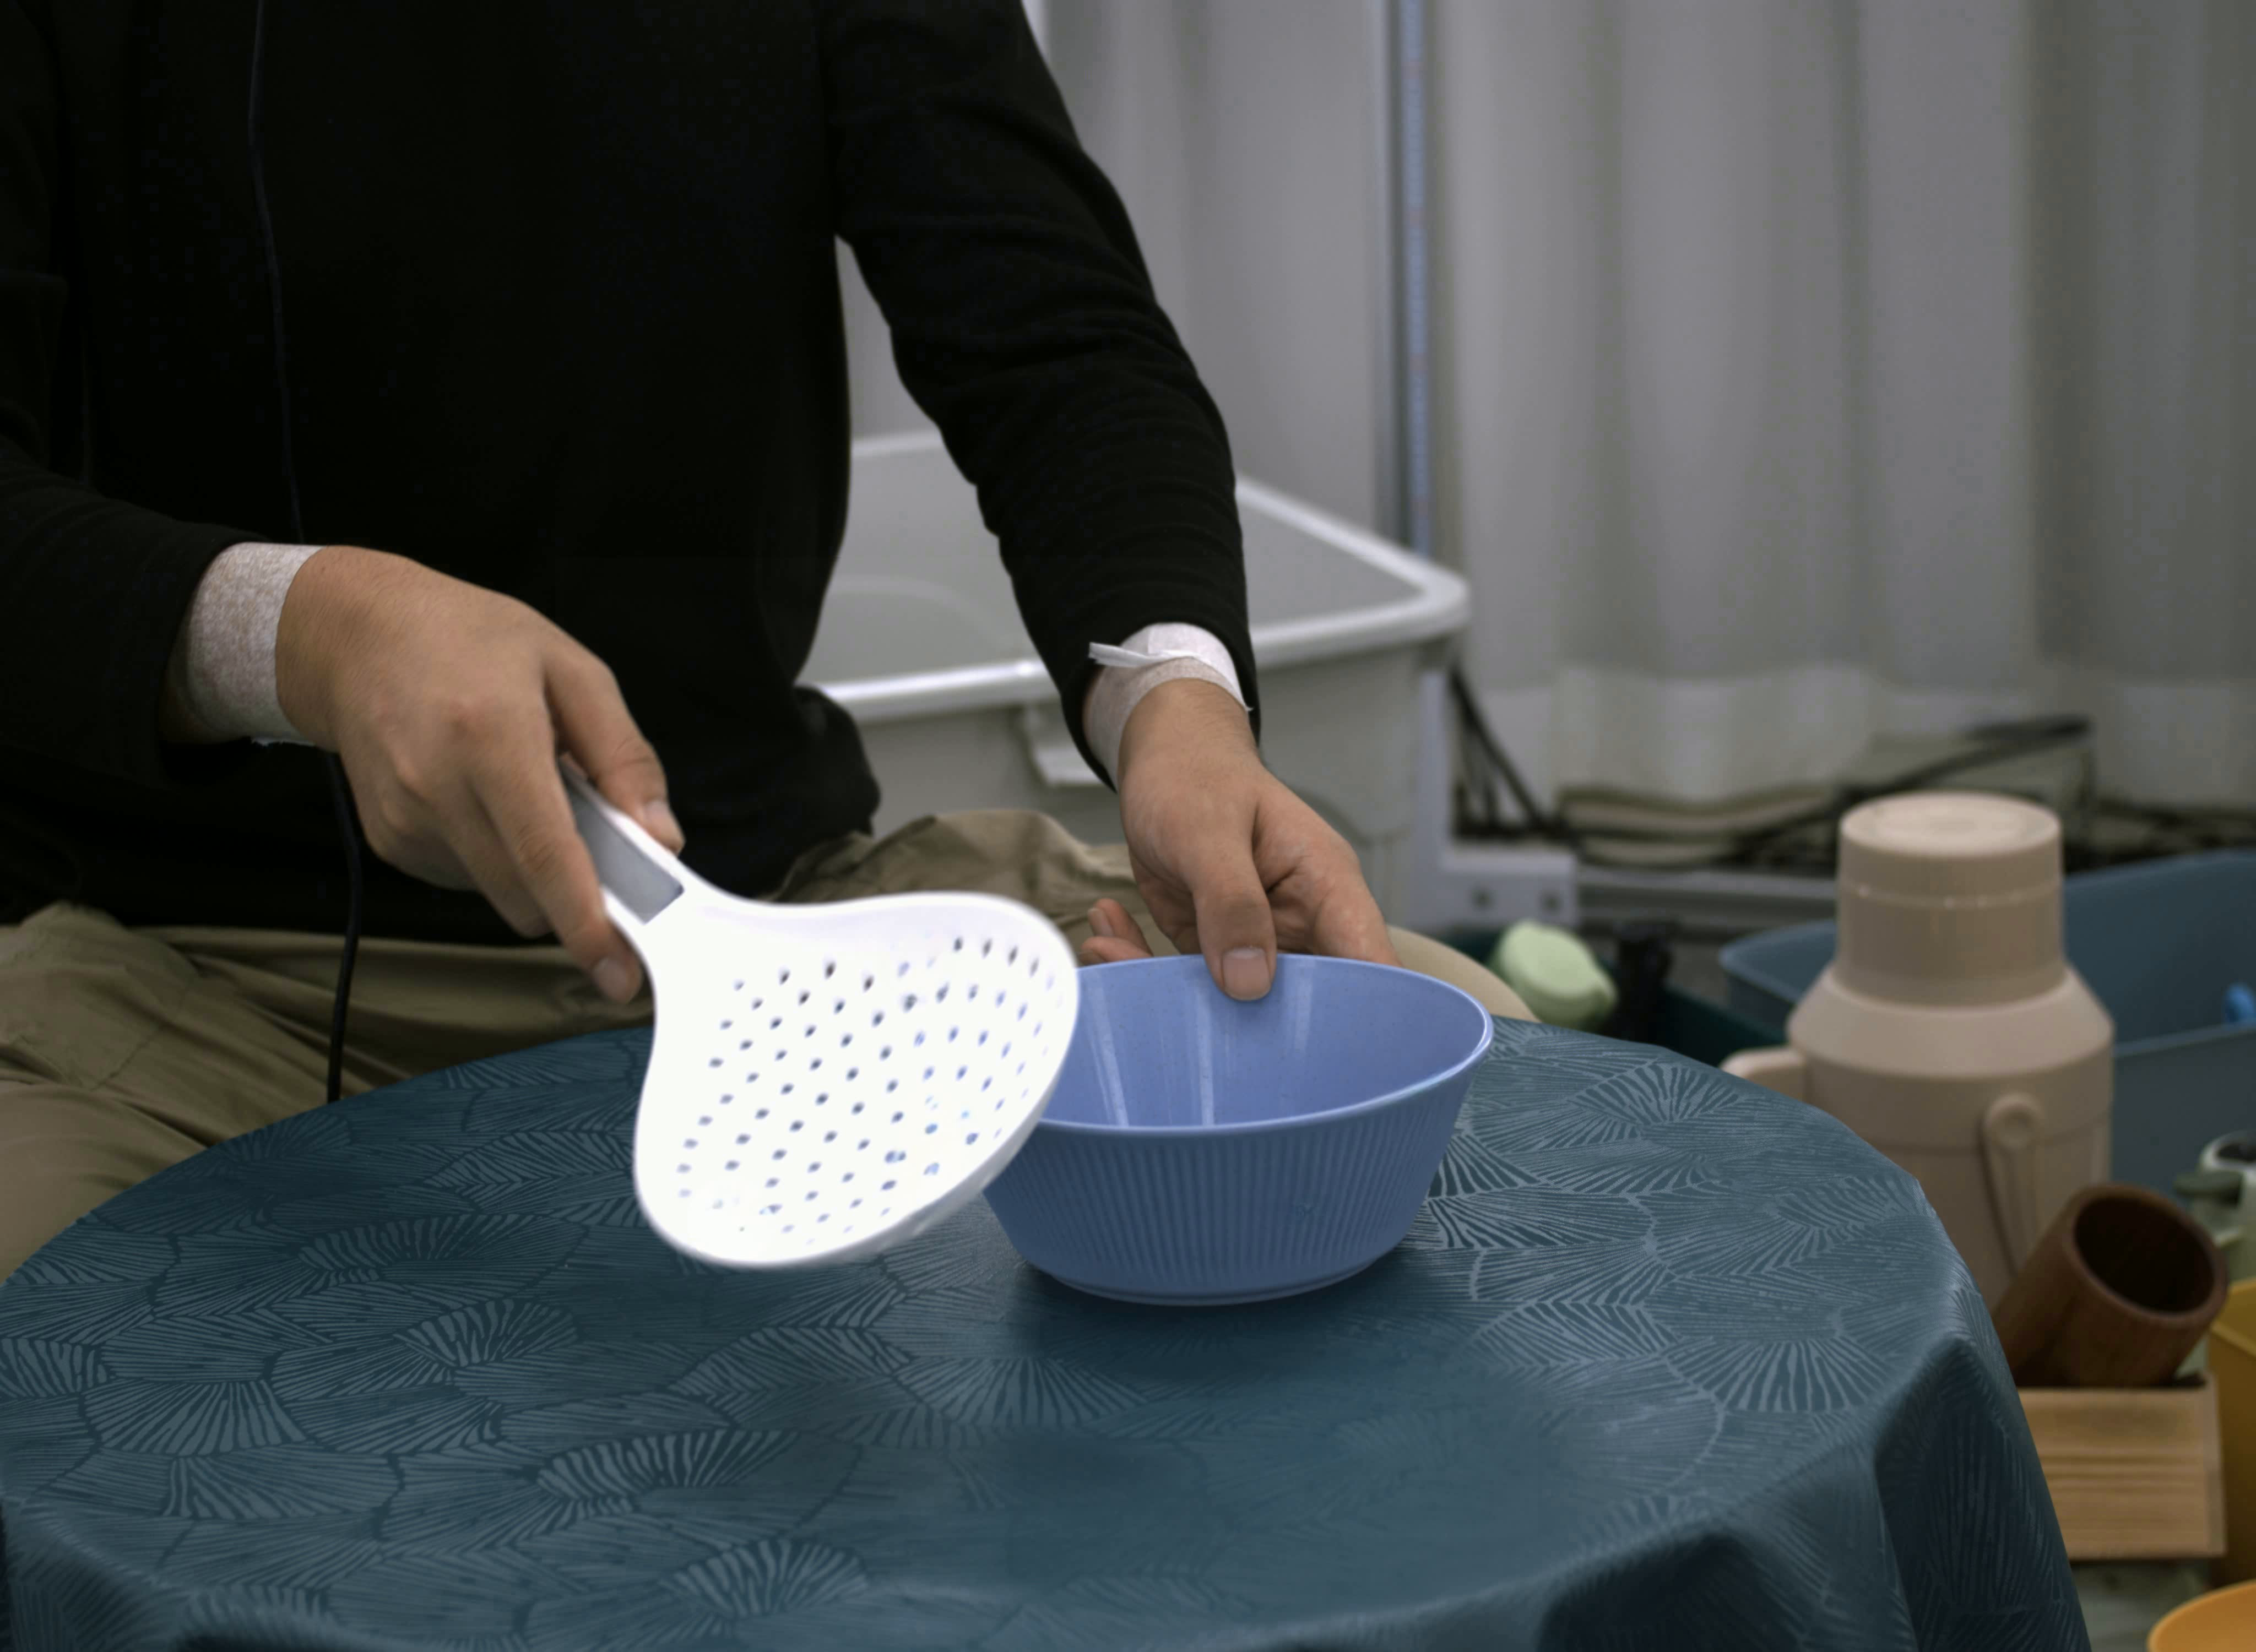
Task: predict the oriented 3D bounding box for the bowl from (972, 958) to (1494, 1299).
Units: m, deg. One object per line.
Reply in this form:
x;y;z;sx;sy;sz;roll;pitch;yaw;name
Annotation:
0.024;0.093;1.651;0.175;0.070;0.177;-2;14;0;bowl

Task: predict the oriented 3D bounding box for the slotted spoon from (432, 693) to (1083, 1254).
-0.124;0.031;1.593;0.136;0.045;0.354;-40;40;-11;slotted spoon
